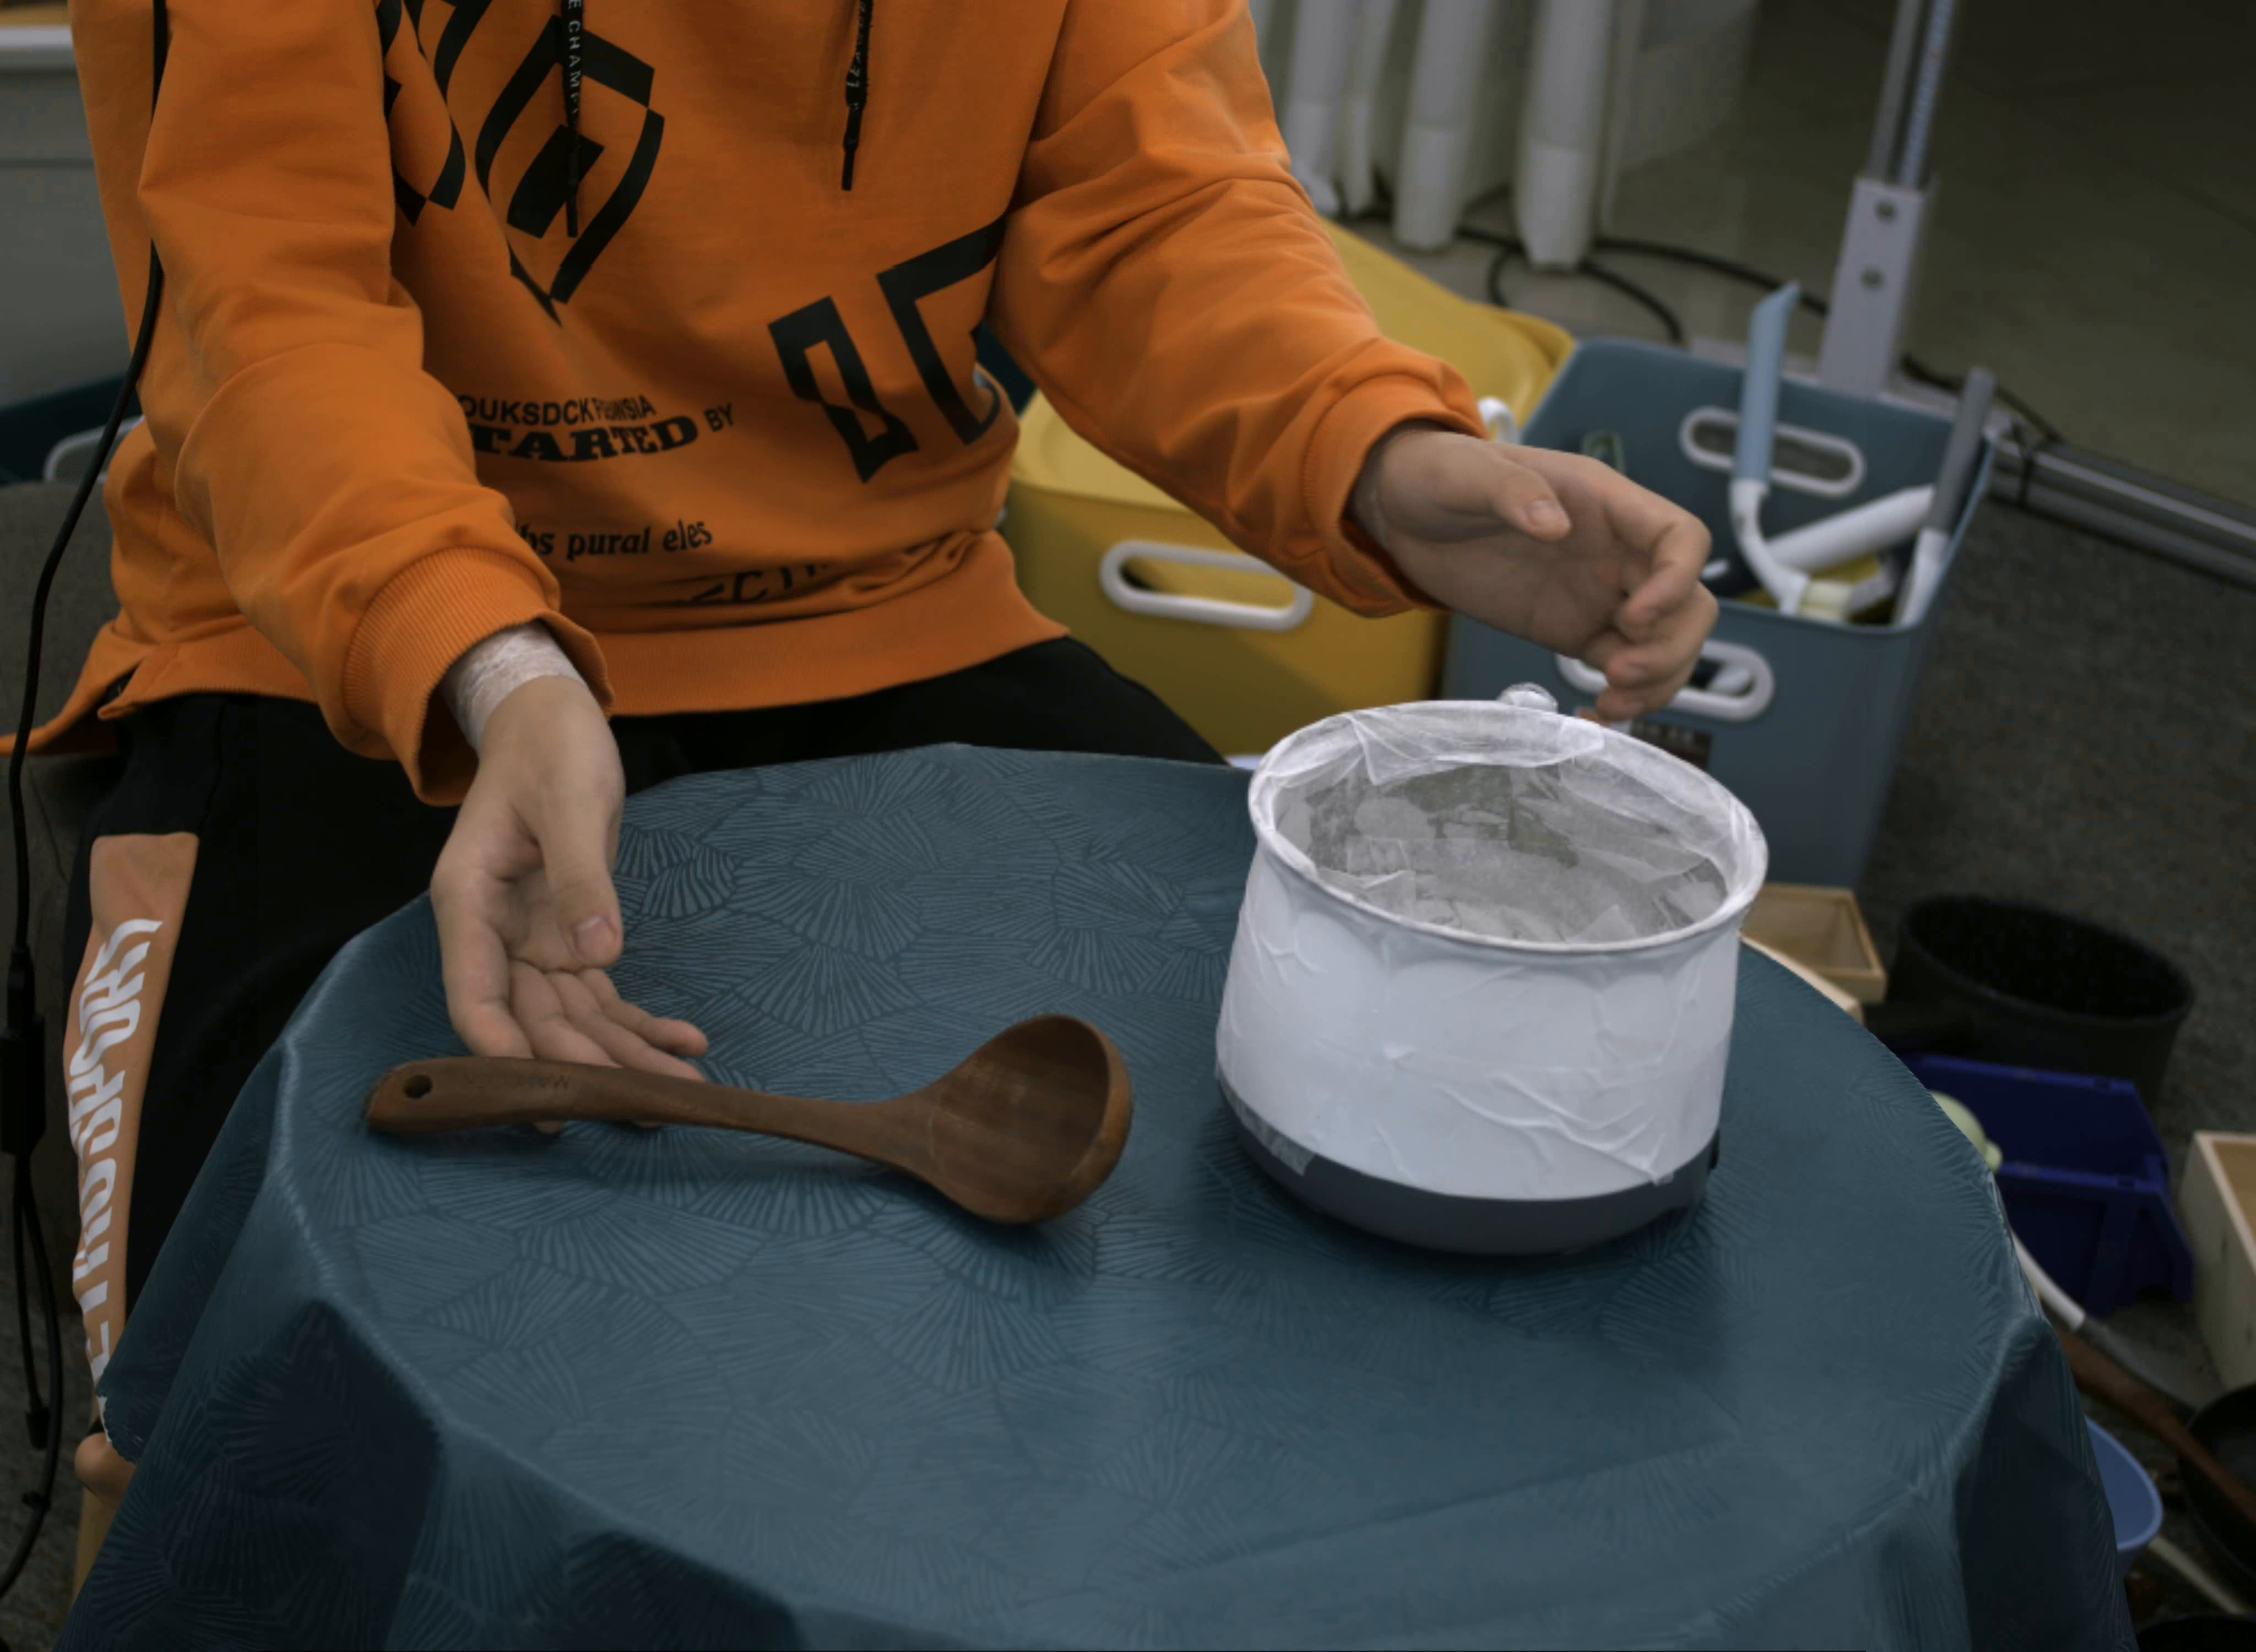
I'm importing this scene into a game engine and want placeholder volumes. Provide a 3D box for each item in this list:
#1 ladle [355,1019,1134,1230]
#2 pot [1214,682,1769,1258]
[{"bbox_3d":[-0.128,0.090,1.773,0.259,0.065,0.077,6,52,-2],"label":"ladle"},{"bbox_3d":[0.124,0.042,1.841,0.178,0.136,0.235,9,27,3],"label":"pot"}]
